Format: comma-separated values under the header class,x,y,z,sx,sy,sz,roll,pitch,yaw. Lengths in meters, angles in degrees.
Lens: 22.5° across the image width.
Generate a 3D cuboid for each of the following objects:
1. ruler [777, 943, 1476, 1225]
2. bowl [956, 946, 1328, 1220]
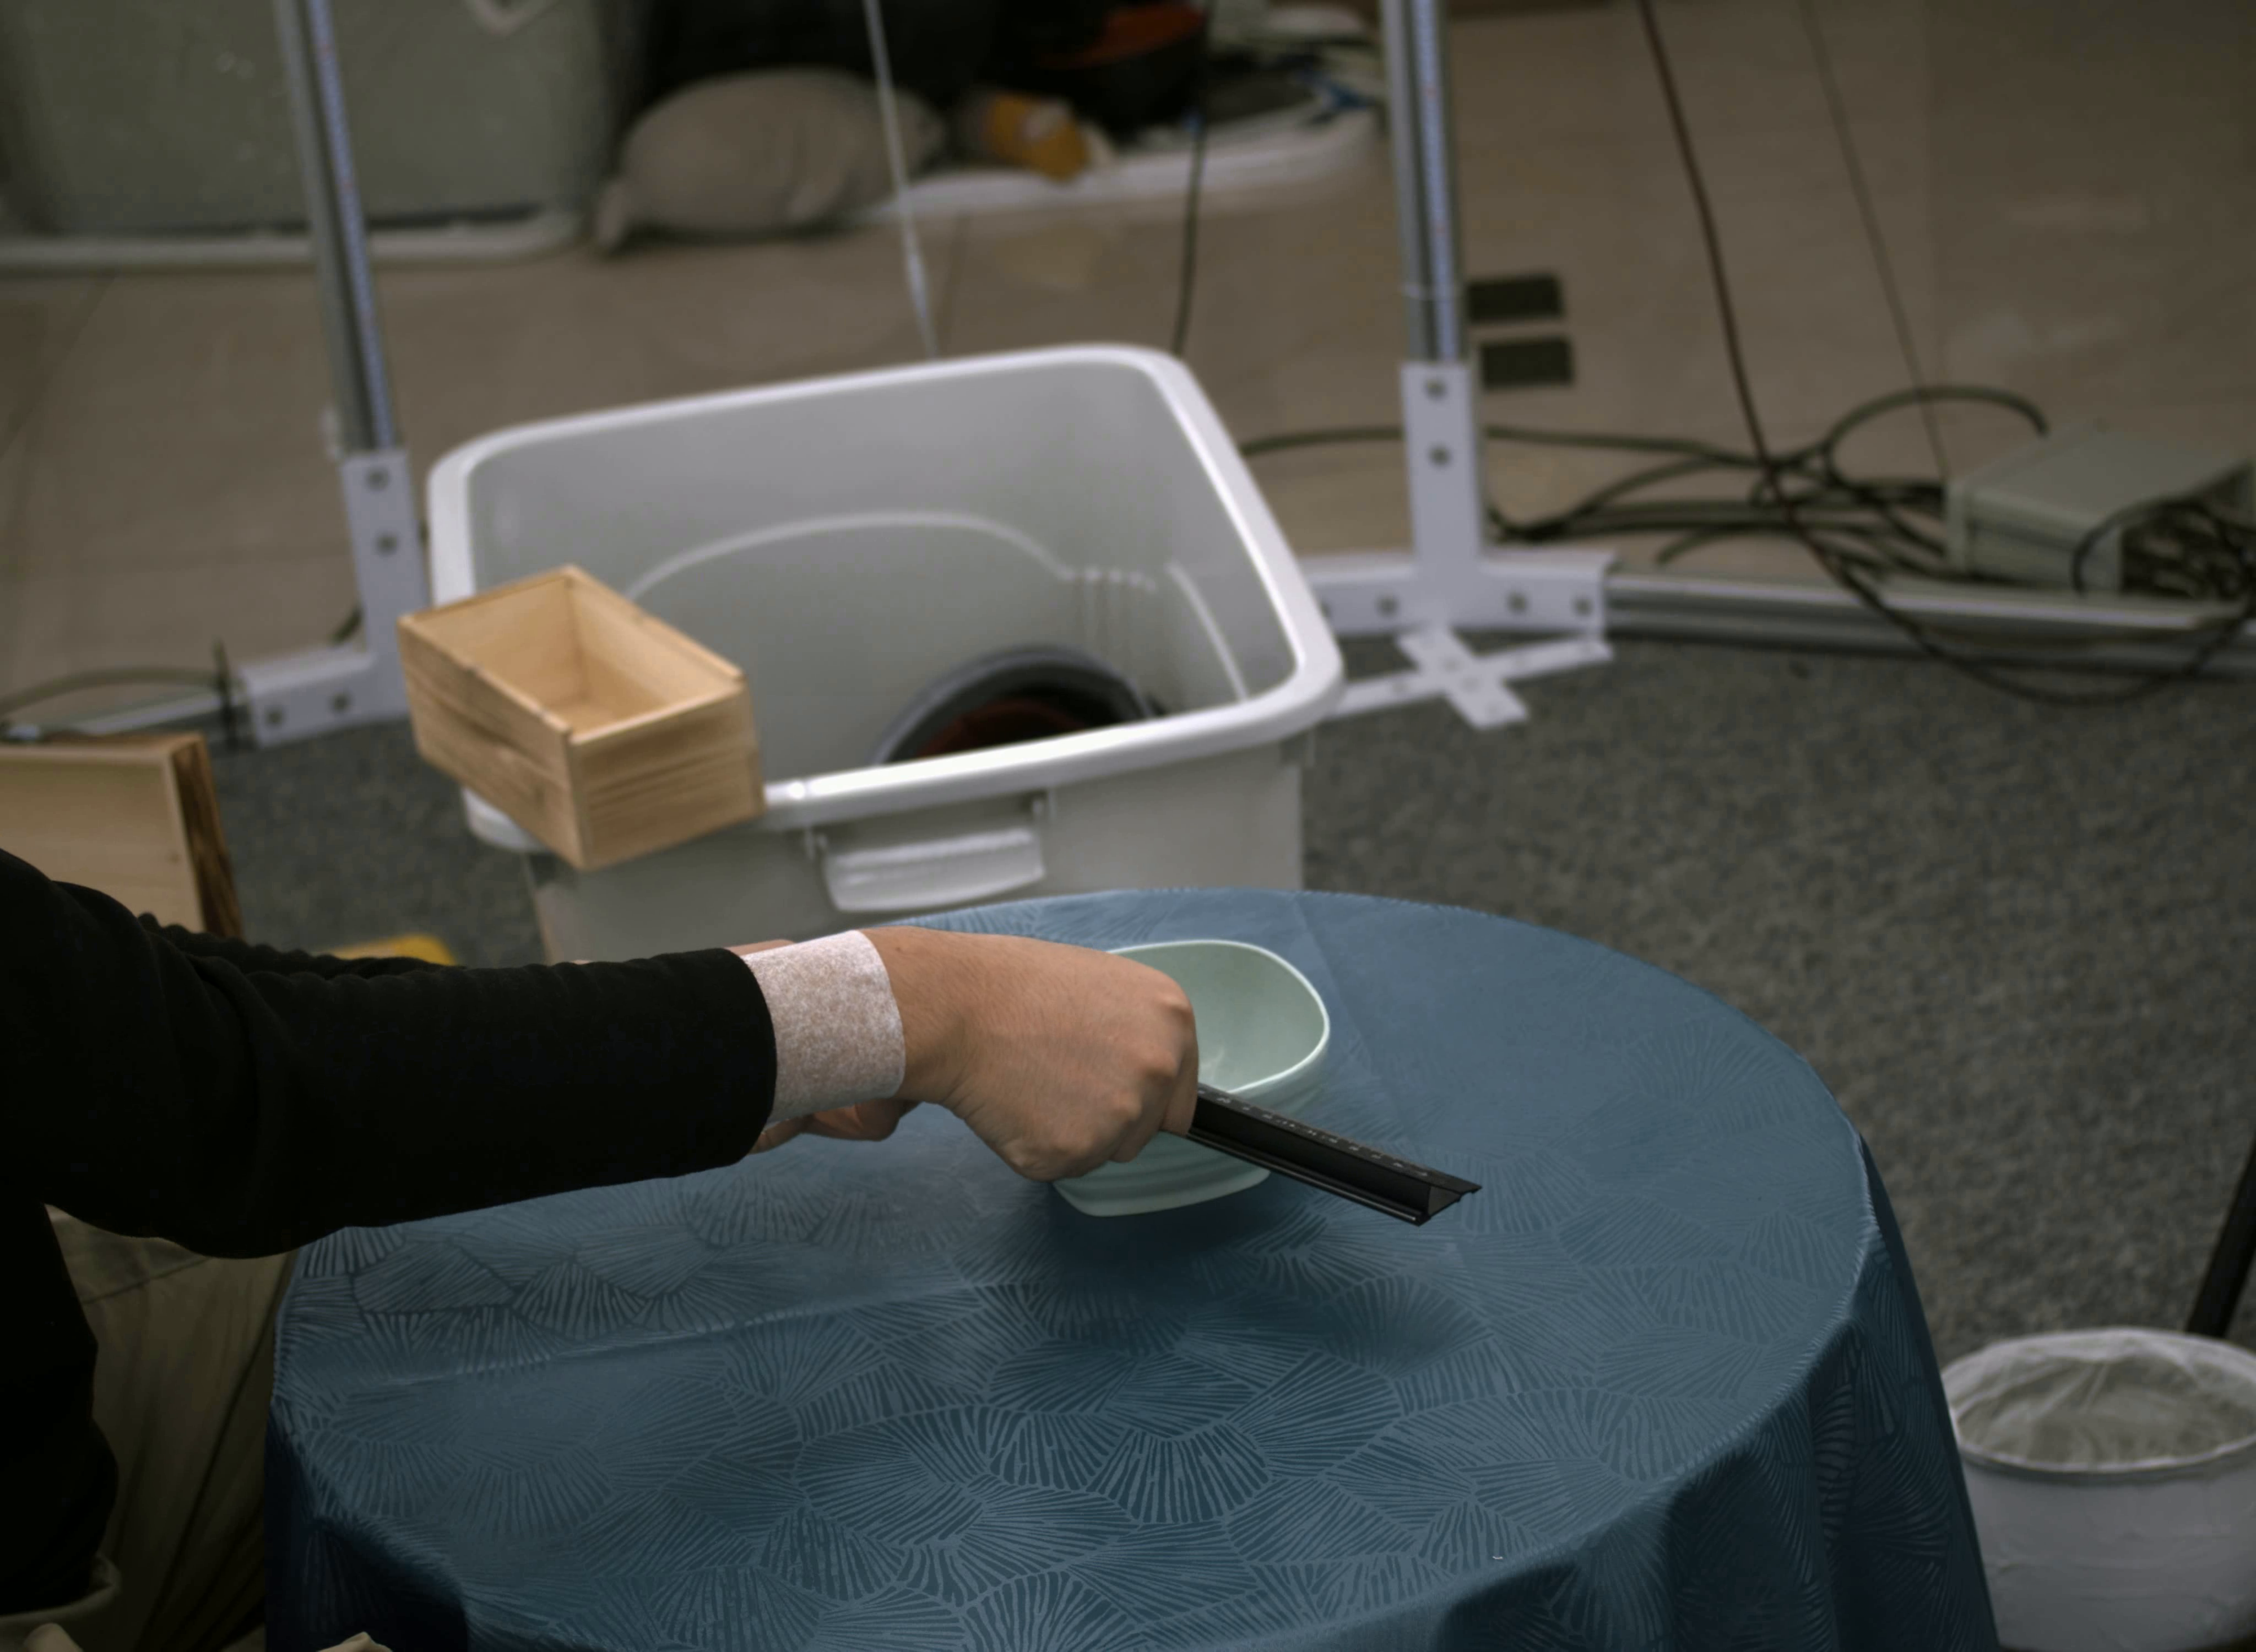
class,x,y,z,sx,sy,sz,roll,pitch,yaw
ruler,-0.005,0.088,2.094,0.310,0.017,0.039,19,28,36
bowl,0.007,0.103,2.158,0.151,0.059,0.149,-4,26,2
